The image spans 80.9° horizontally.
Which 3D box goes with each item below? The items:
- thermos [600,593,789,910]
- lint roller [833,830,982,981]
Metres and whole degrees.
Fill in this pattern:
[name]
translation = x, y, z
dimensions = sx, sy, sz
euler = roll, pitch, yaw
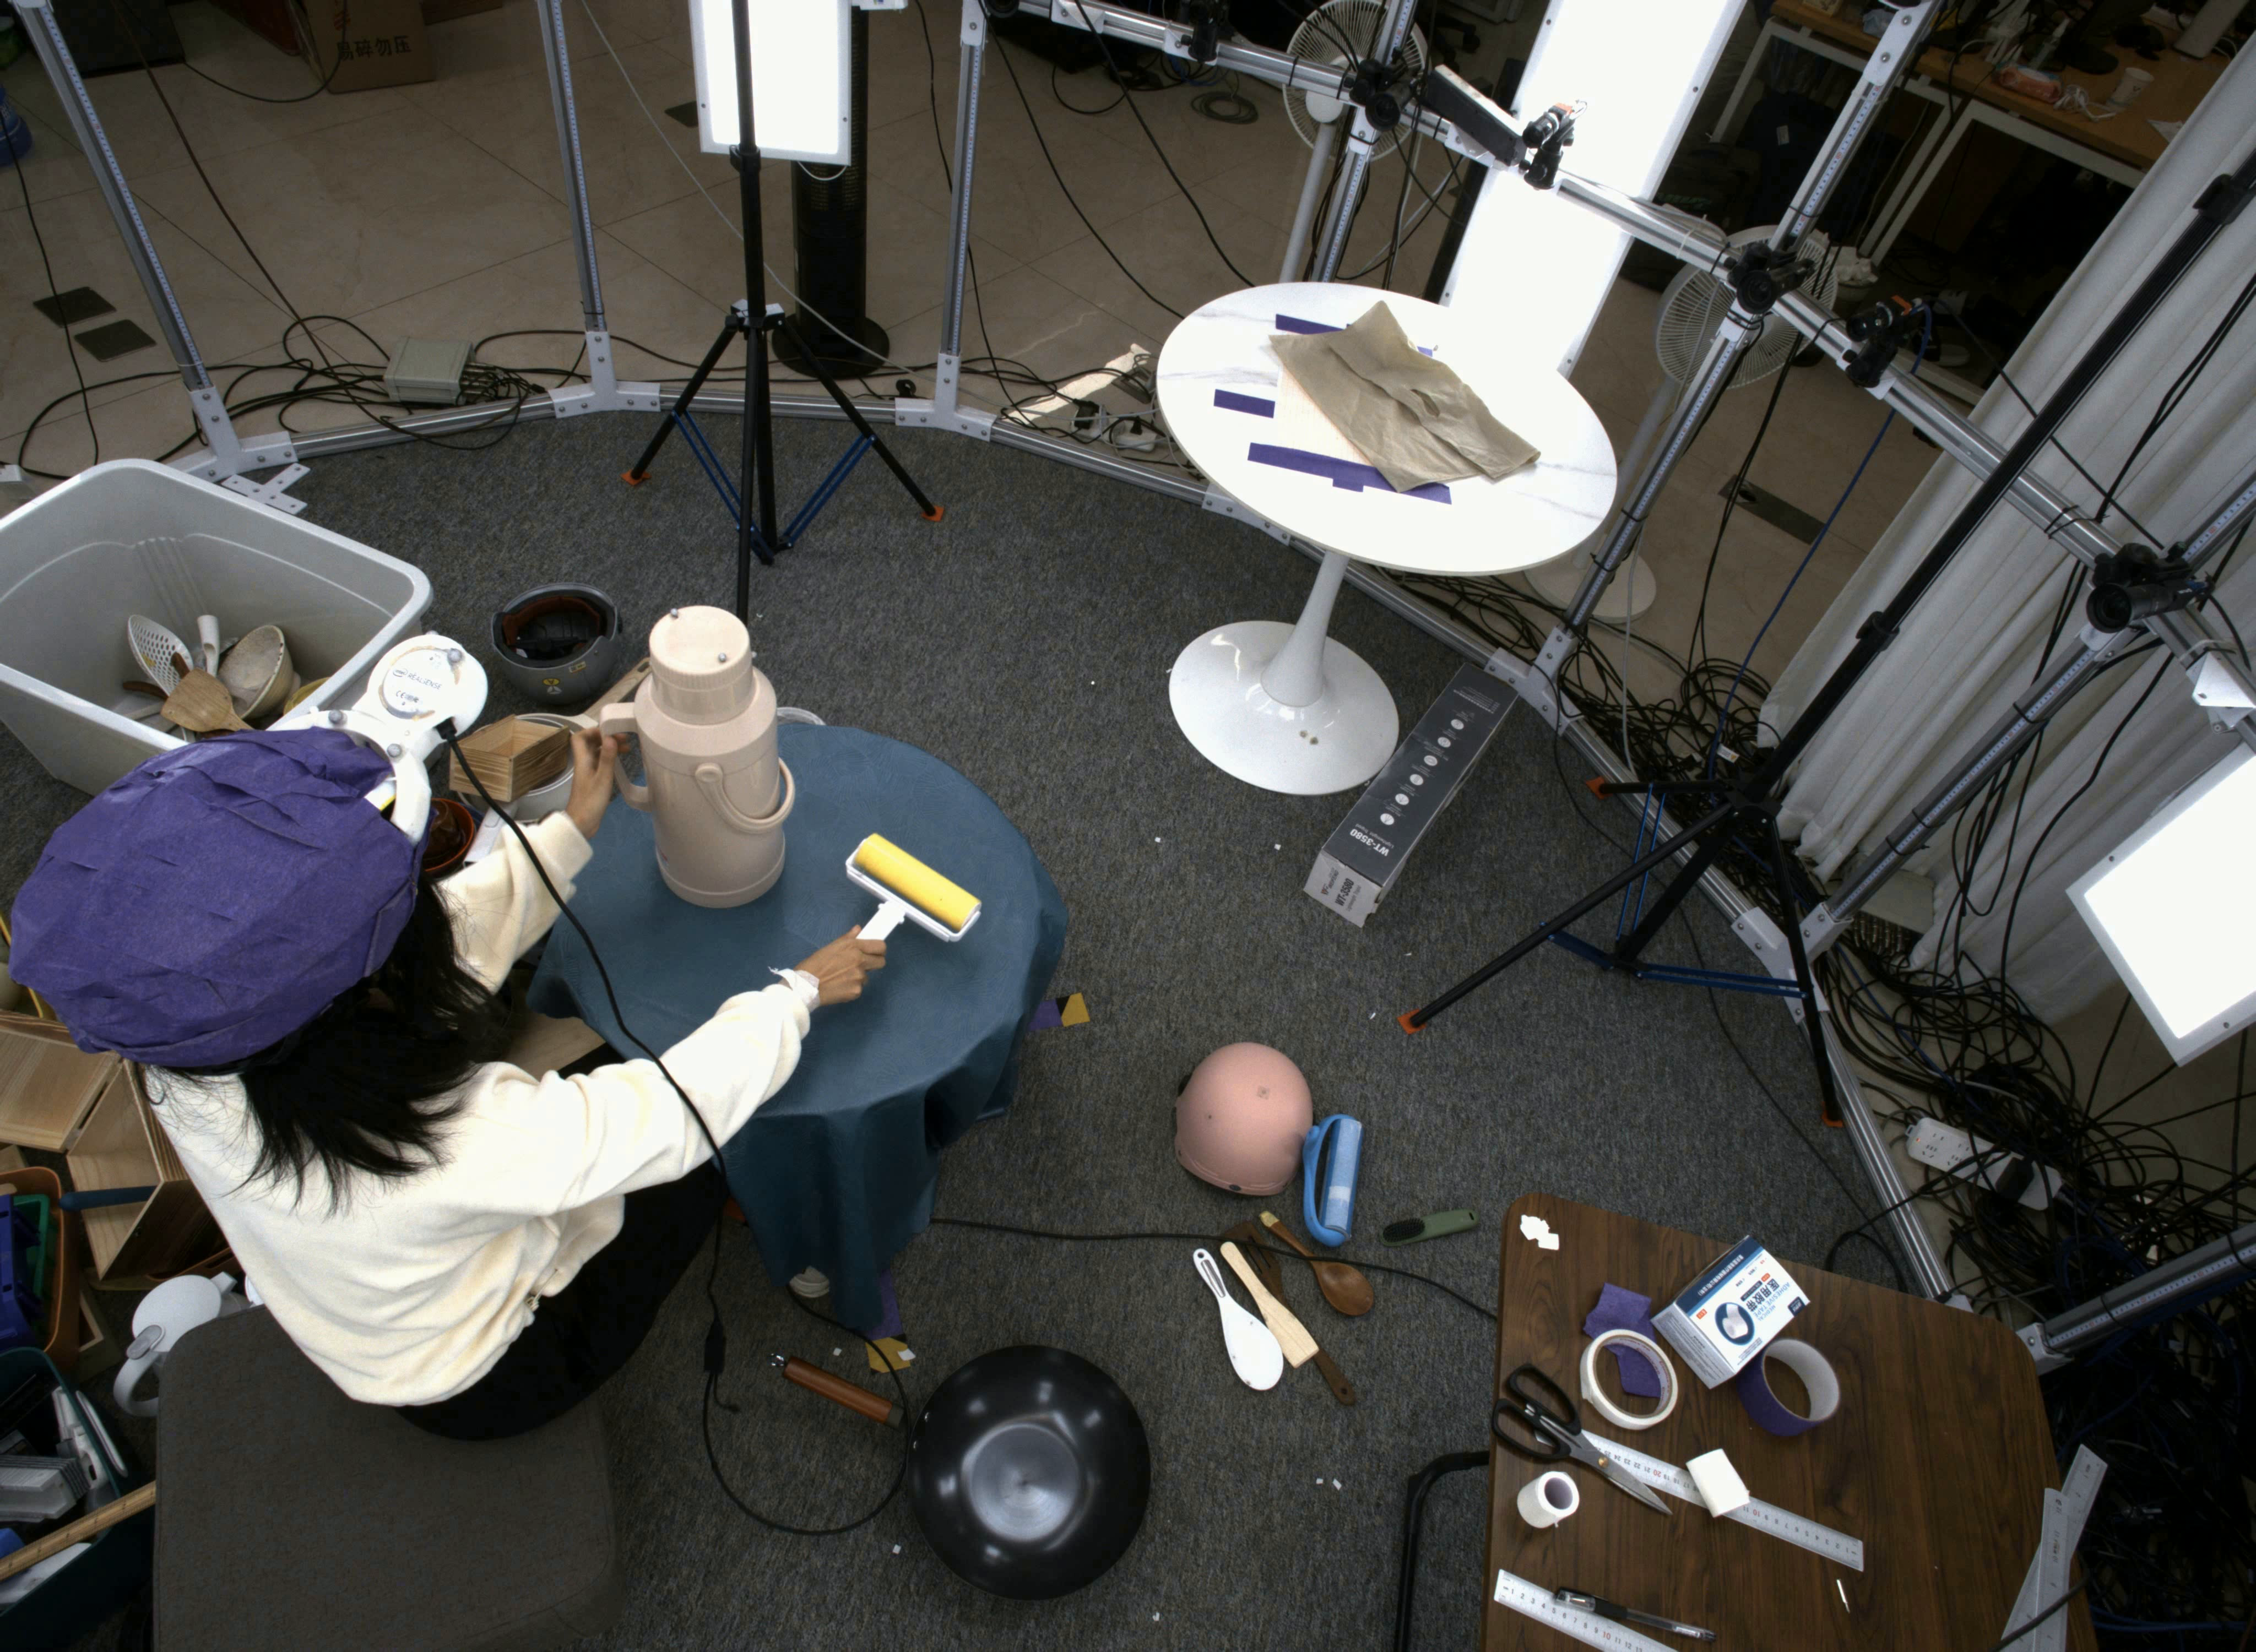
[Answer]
[thermos]
translation = -0.505, -0.083, 1.503
dimensions = 0.207, 0.415, 0.171
euler = -5, 54, -16
[lint roller]
translation = -0.292, 0.107, 1.565
dimensions = 0.172, 0.052, 0.191
euler = 32, 45, 4
